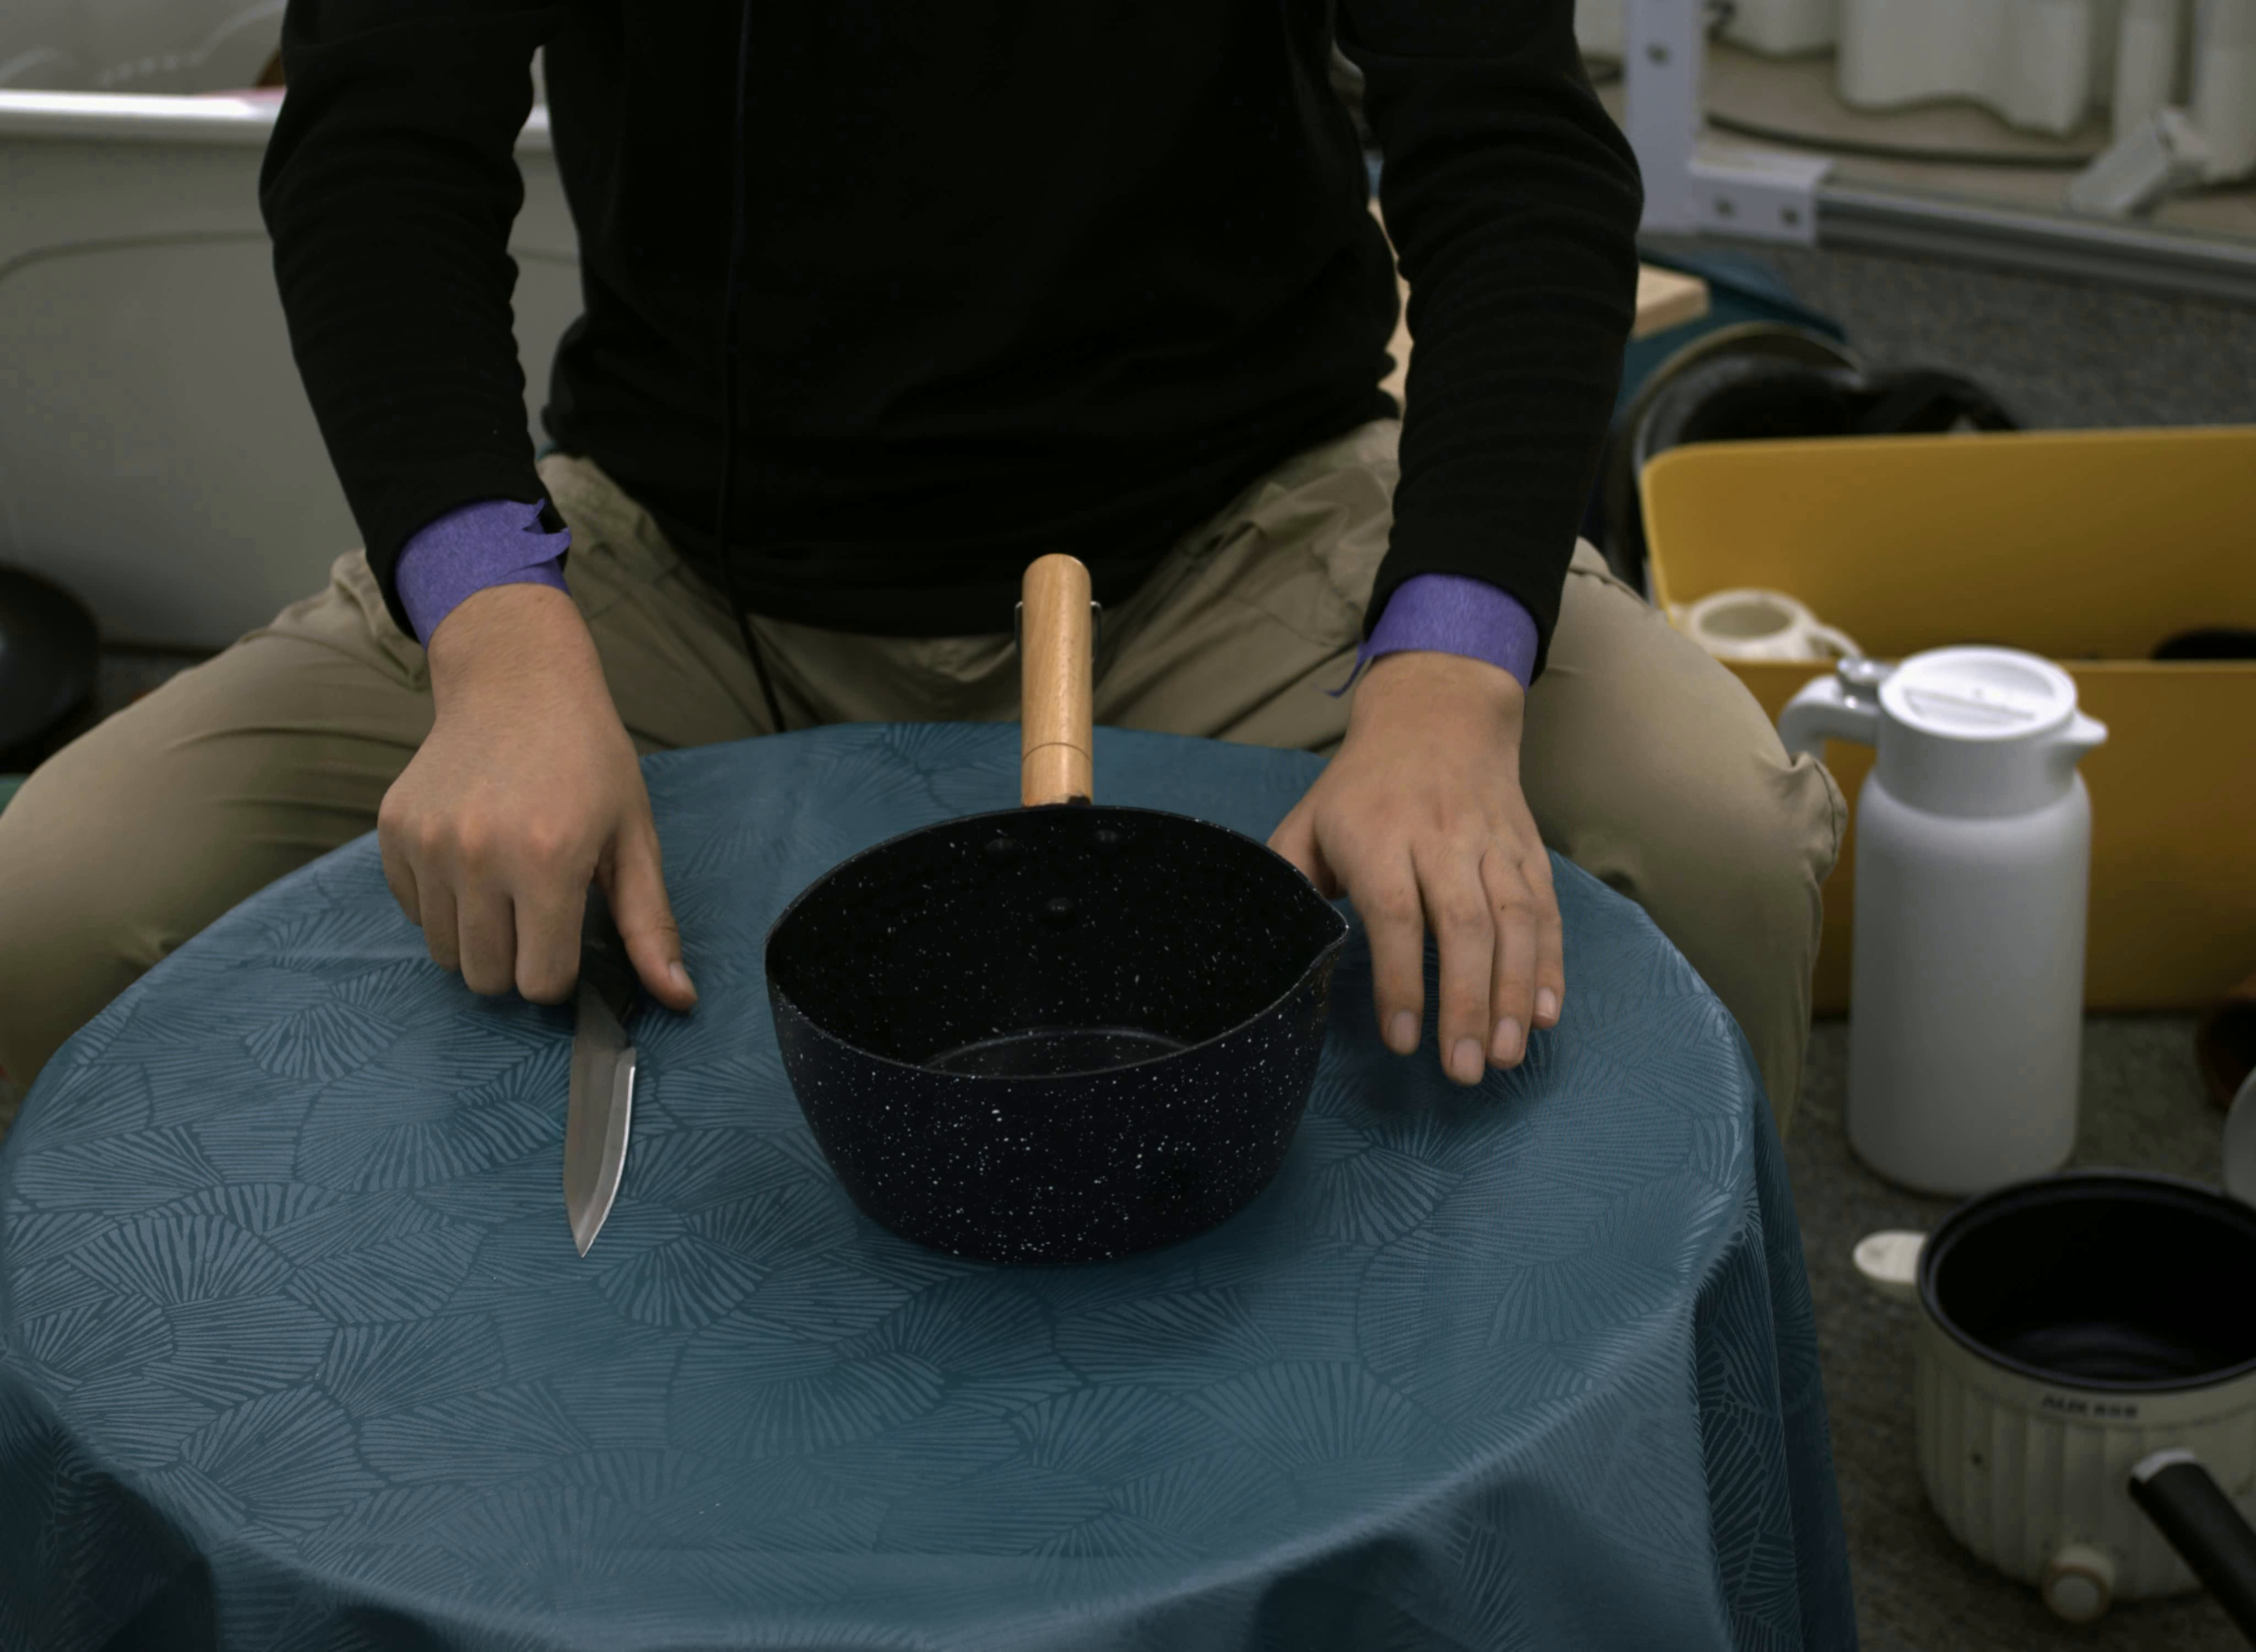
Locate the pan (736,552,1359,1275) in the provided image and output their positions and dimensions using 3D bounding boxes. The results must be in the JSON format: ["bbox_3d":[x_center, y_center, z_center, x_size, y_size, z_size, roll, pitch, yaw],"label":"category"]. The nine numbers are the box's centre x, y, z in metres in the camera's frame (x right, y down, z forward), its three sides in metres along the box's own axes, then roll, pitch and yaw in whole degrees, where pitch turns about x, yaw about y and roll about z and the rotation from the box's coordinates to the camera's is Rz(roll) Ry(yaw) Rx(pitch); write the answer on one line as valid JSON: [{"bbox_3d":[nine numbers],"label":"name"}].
[{"bbox_3d":[-0.026,0.027,1.932,0.206,0.107,0.348,-3,28,1],"label":"pan"}]

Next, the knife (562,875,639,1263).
[{"bbox_3d":[-0.183,0.082,1.940,0.024,0.016,0.242,4,30,-5],"label":"knife"}]
